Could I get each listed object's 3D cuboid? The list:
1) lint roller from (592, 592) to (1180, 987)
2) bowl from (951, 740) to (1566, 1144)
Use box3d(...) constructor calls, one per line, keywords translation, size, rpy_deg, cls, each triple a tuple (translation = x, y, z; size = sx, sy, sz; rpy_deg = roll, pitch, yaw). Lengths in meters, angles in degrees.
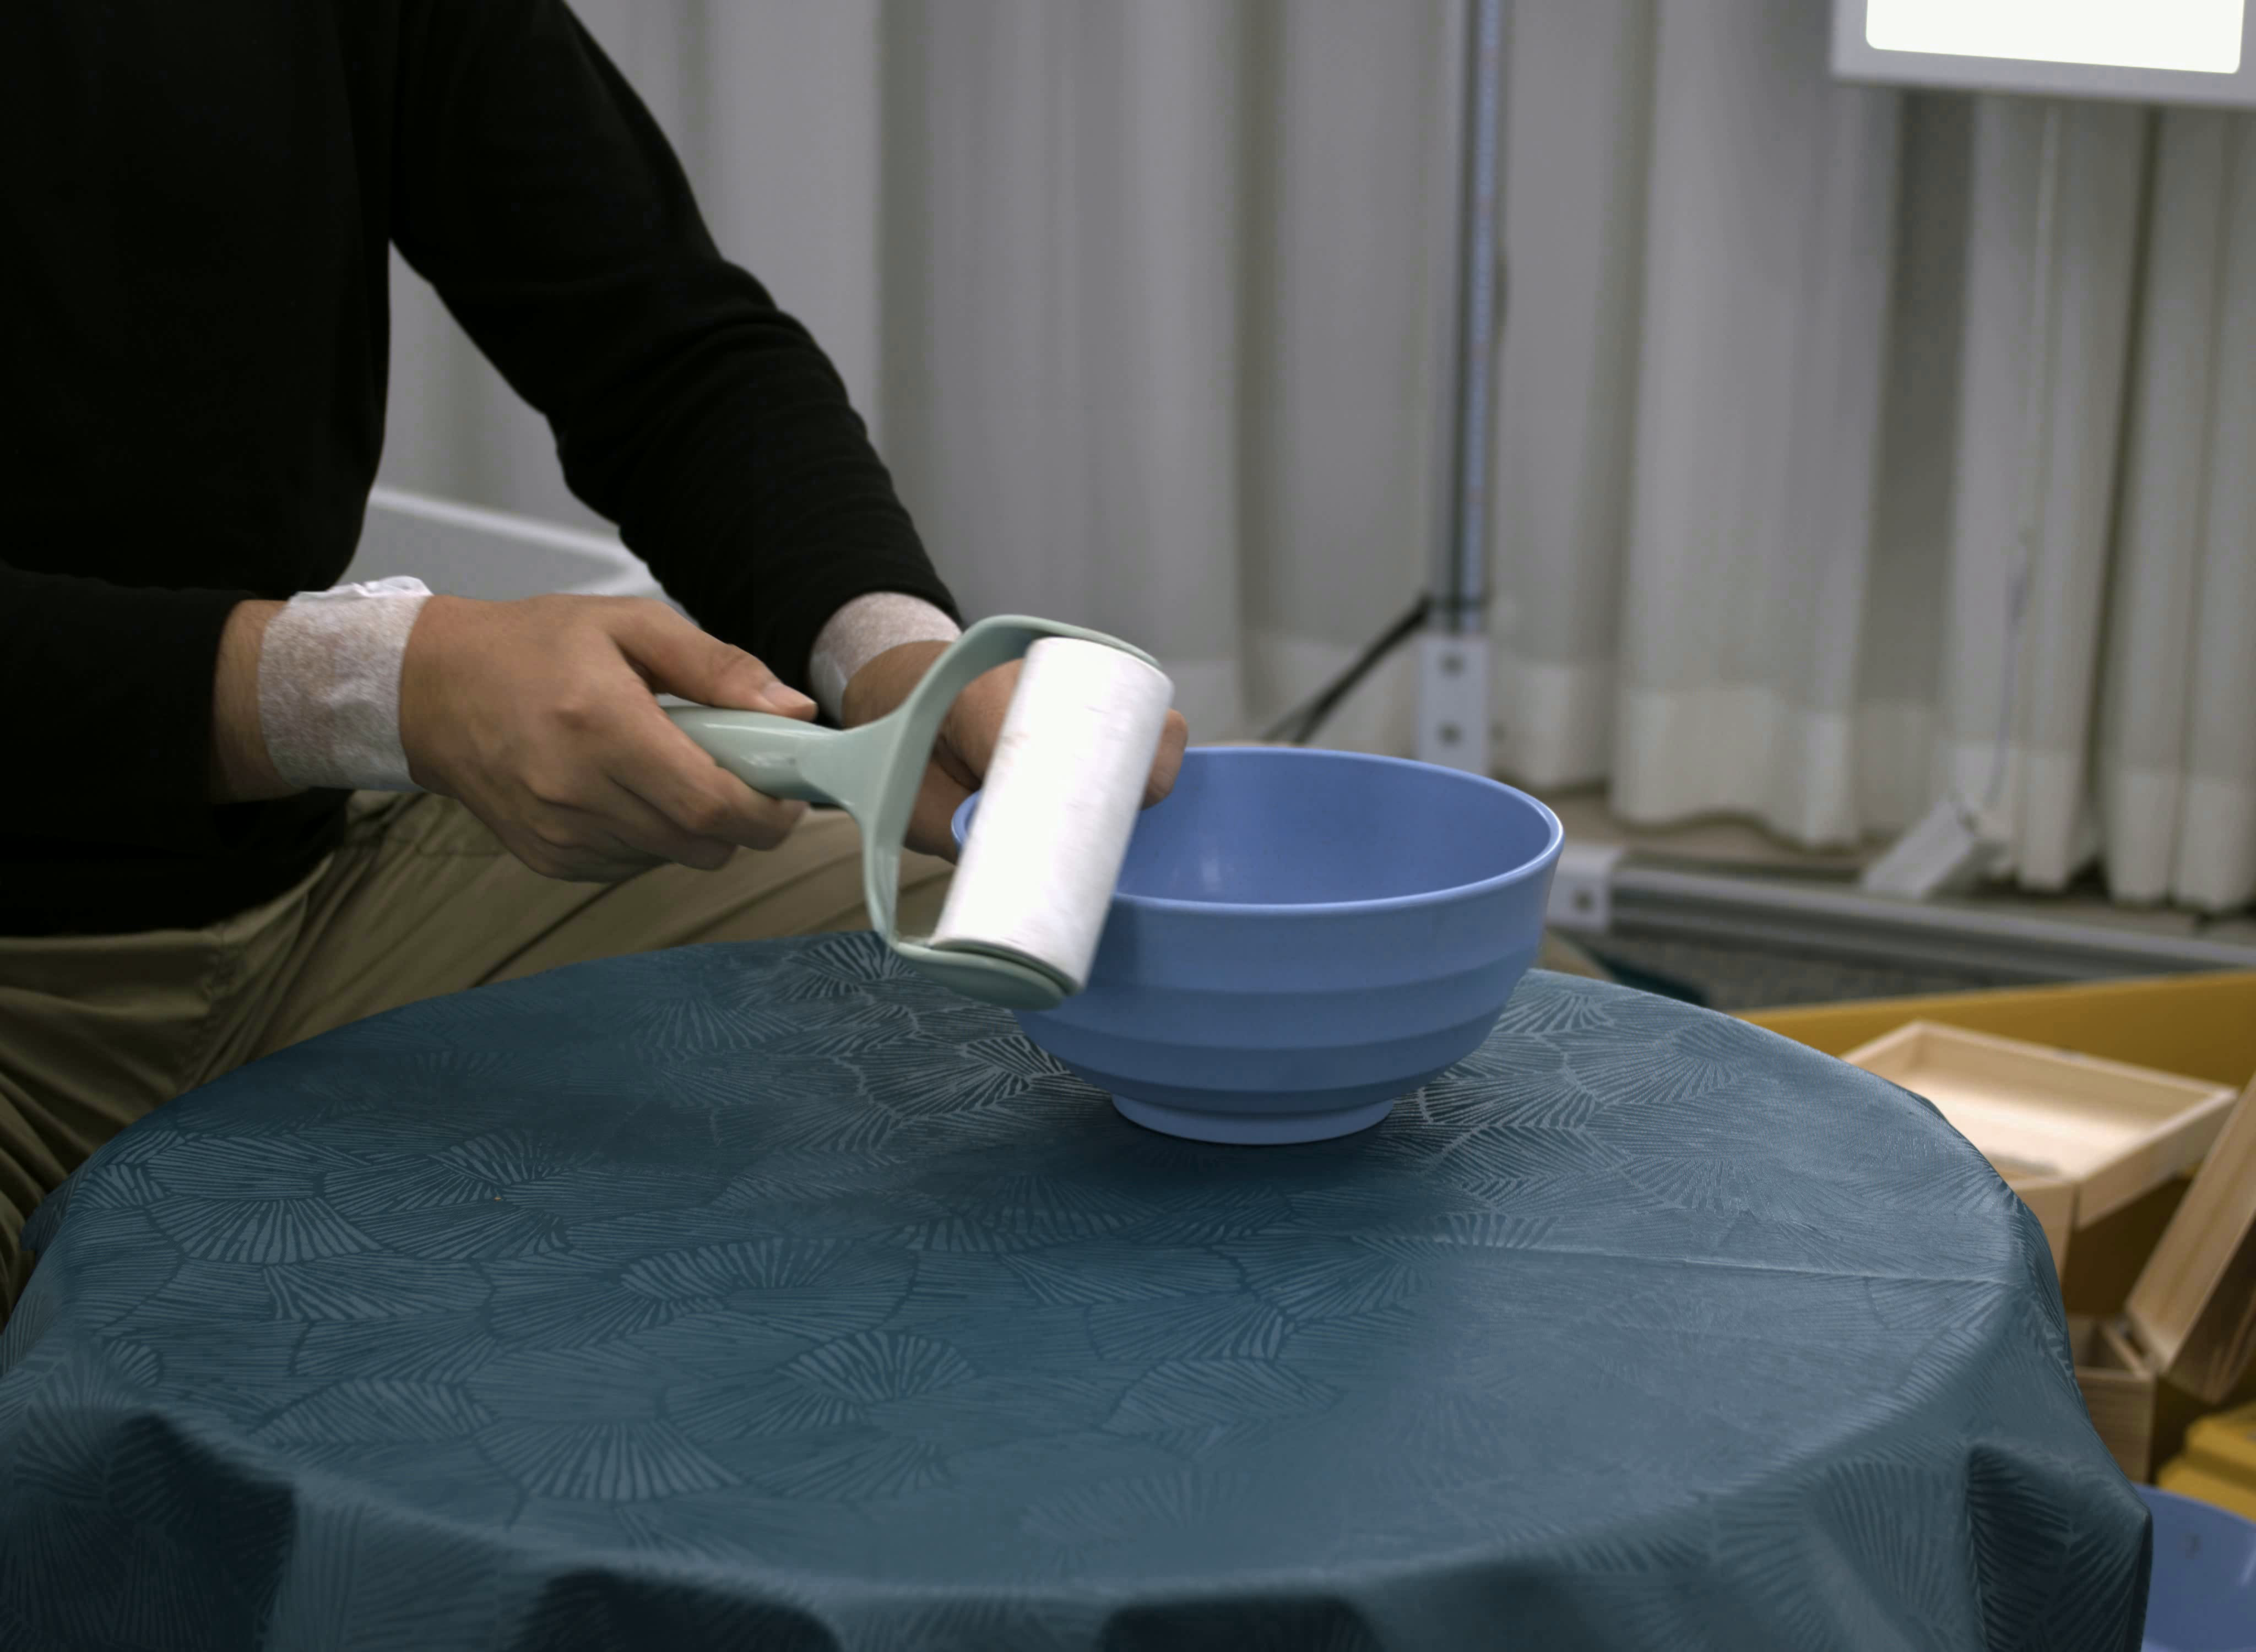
box3d(translation=(-0.084, -0.020, 1.616), size=(0.195, 0.116, 0.049), rpy_deg=(9, -16, 24), cls="lint roller")
box3d(translation=(0.041, 0.043, 1.690), size=(0.196, 0.096, 0.195), rpy_deg=(1, 17, 0), cls="bowl")
